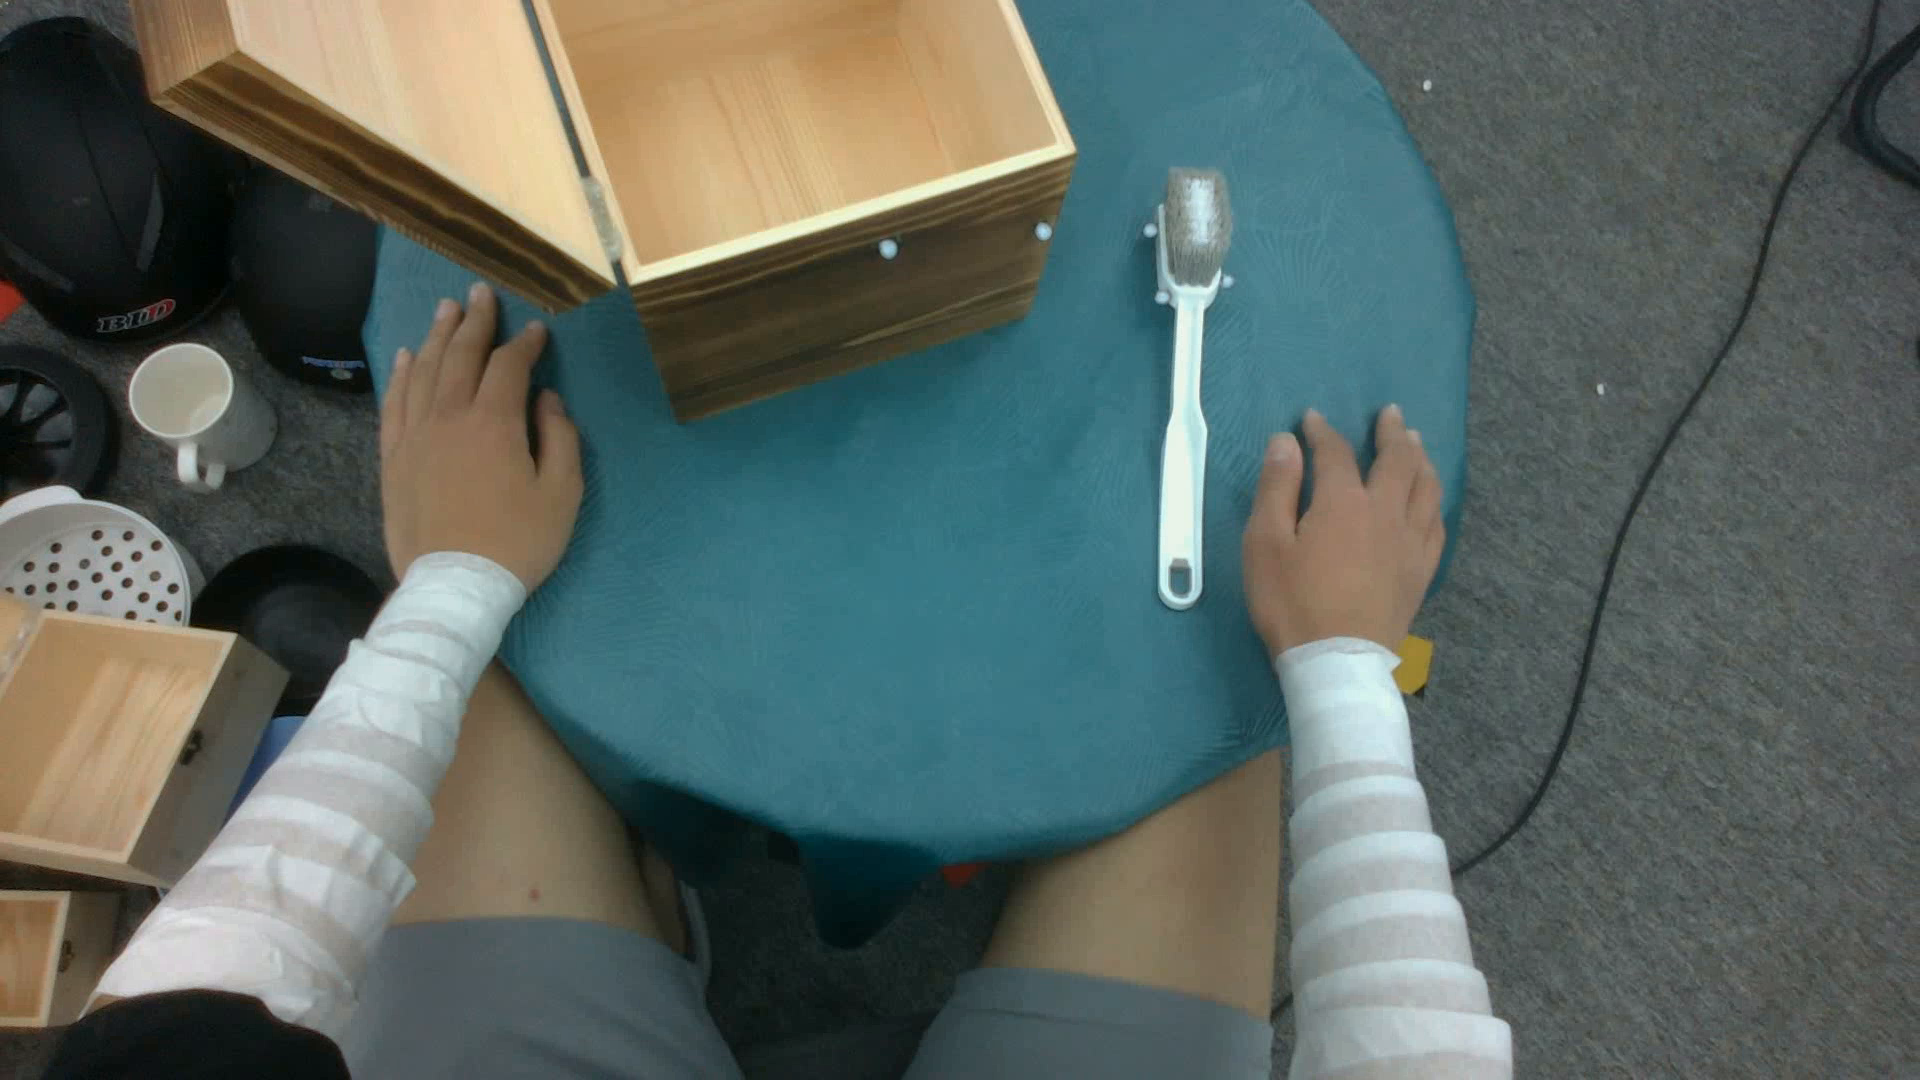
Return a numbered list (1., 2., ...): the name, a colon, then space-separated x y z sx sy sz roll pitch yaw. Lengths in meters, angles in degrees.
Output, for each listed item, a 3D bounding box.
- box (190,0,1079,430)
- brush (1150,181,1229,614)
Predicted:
1. box: -0.123 -0.208 0.596 0.322 0.374 0.209 -20 78 -10
2. brush: 0.122 -0.083 0.743 0.034 0.050 0.244 6 73 -3
